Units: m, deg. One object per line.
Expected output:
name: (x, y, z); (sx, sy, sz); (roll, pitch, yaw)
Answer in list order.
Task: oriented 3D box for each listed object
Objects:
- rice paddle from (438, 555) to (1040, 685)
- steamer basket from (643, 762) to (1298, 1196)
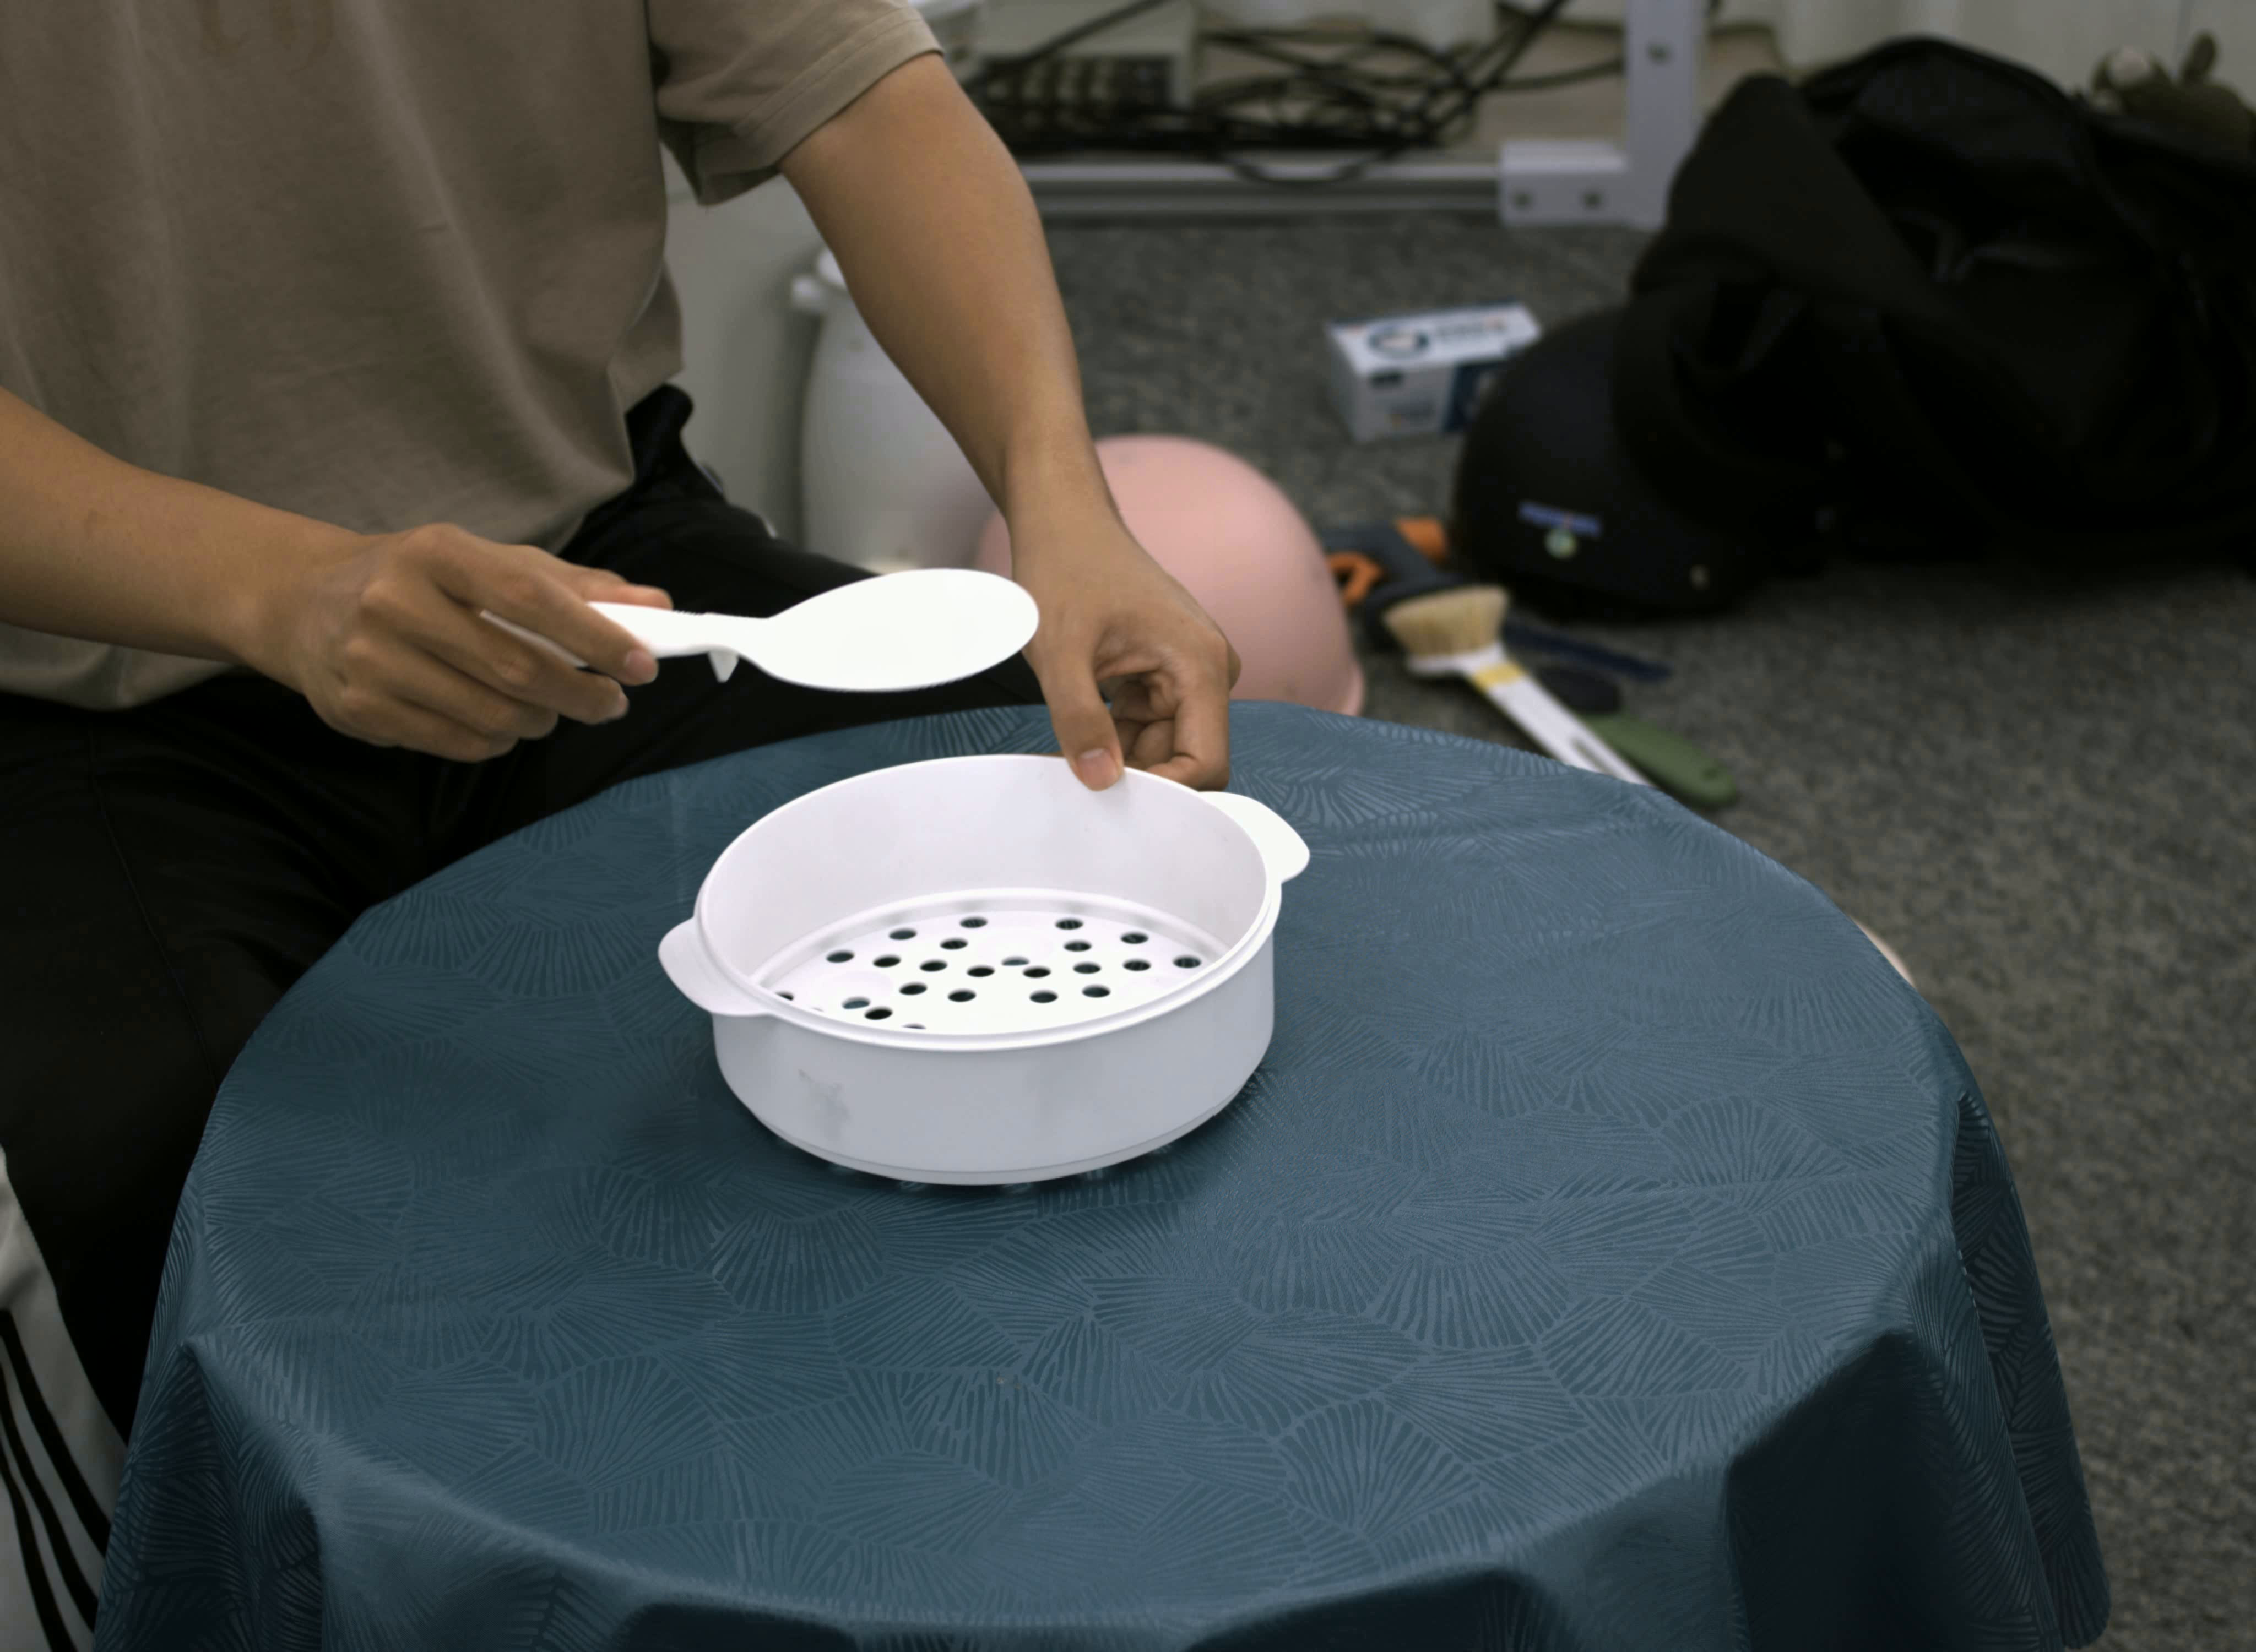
rice paddle: (-0.125, -0.065, 1.817); (0.203, 0.029, 0.070); (-2, 35, 19)
steamer basket: (-0.052, 0.053, 1.927); (0.231, 0.068, 0.203); (-12, 30, -21)
